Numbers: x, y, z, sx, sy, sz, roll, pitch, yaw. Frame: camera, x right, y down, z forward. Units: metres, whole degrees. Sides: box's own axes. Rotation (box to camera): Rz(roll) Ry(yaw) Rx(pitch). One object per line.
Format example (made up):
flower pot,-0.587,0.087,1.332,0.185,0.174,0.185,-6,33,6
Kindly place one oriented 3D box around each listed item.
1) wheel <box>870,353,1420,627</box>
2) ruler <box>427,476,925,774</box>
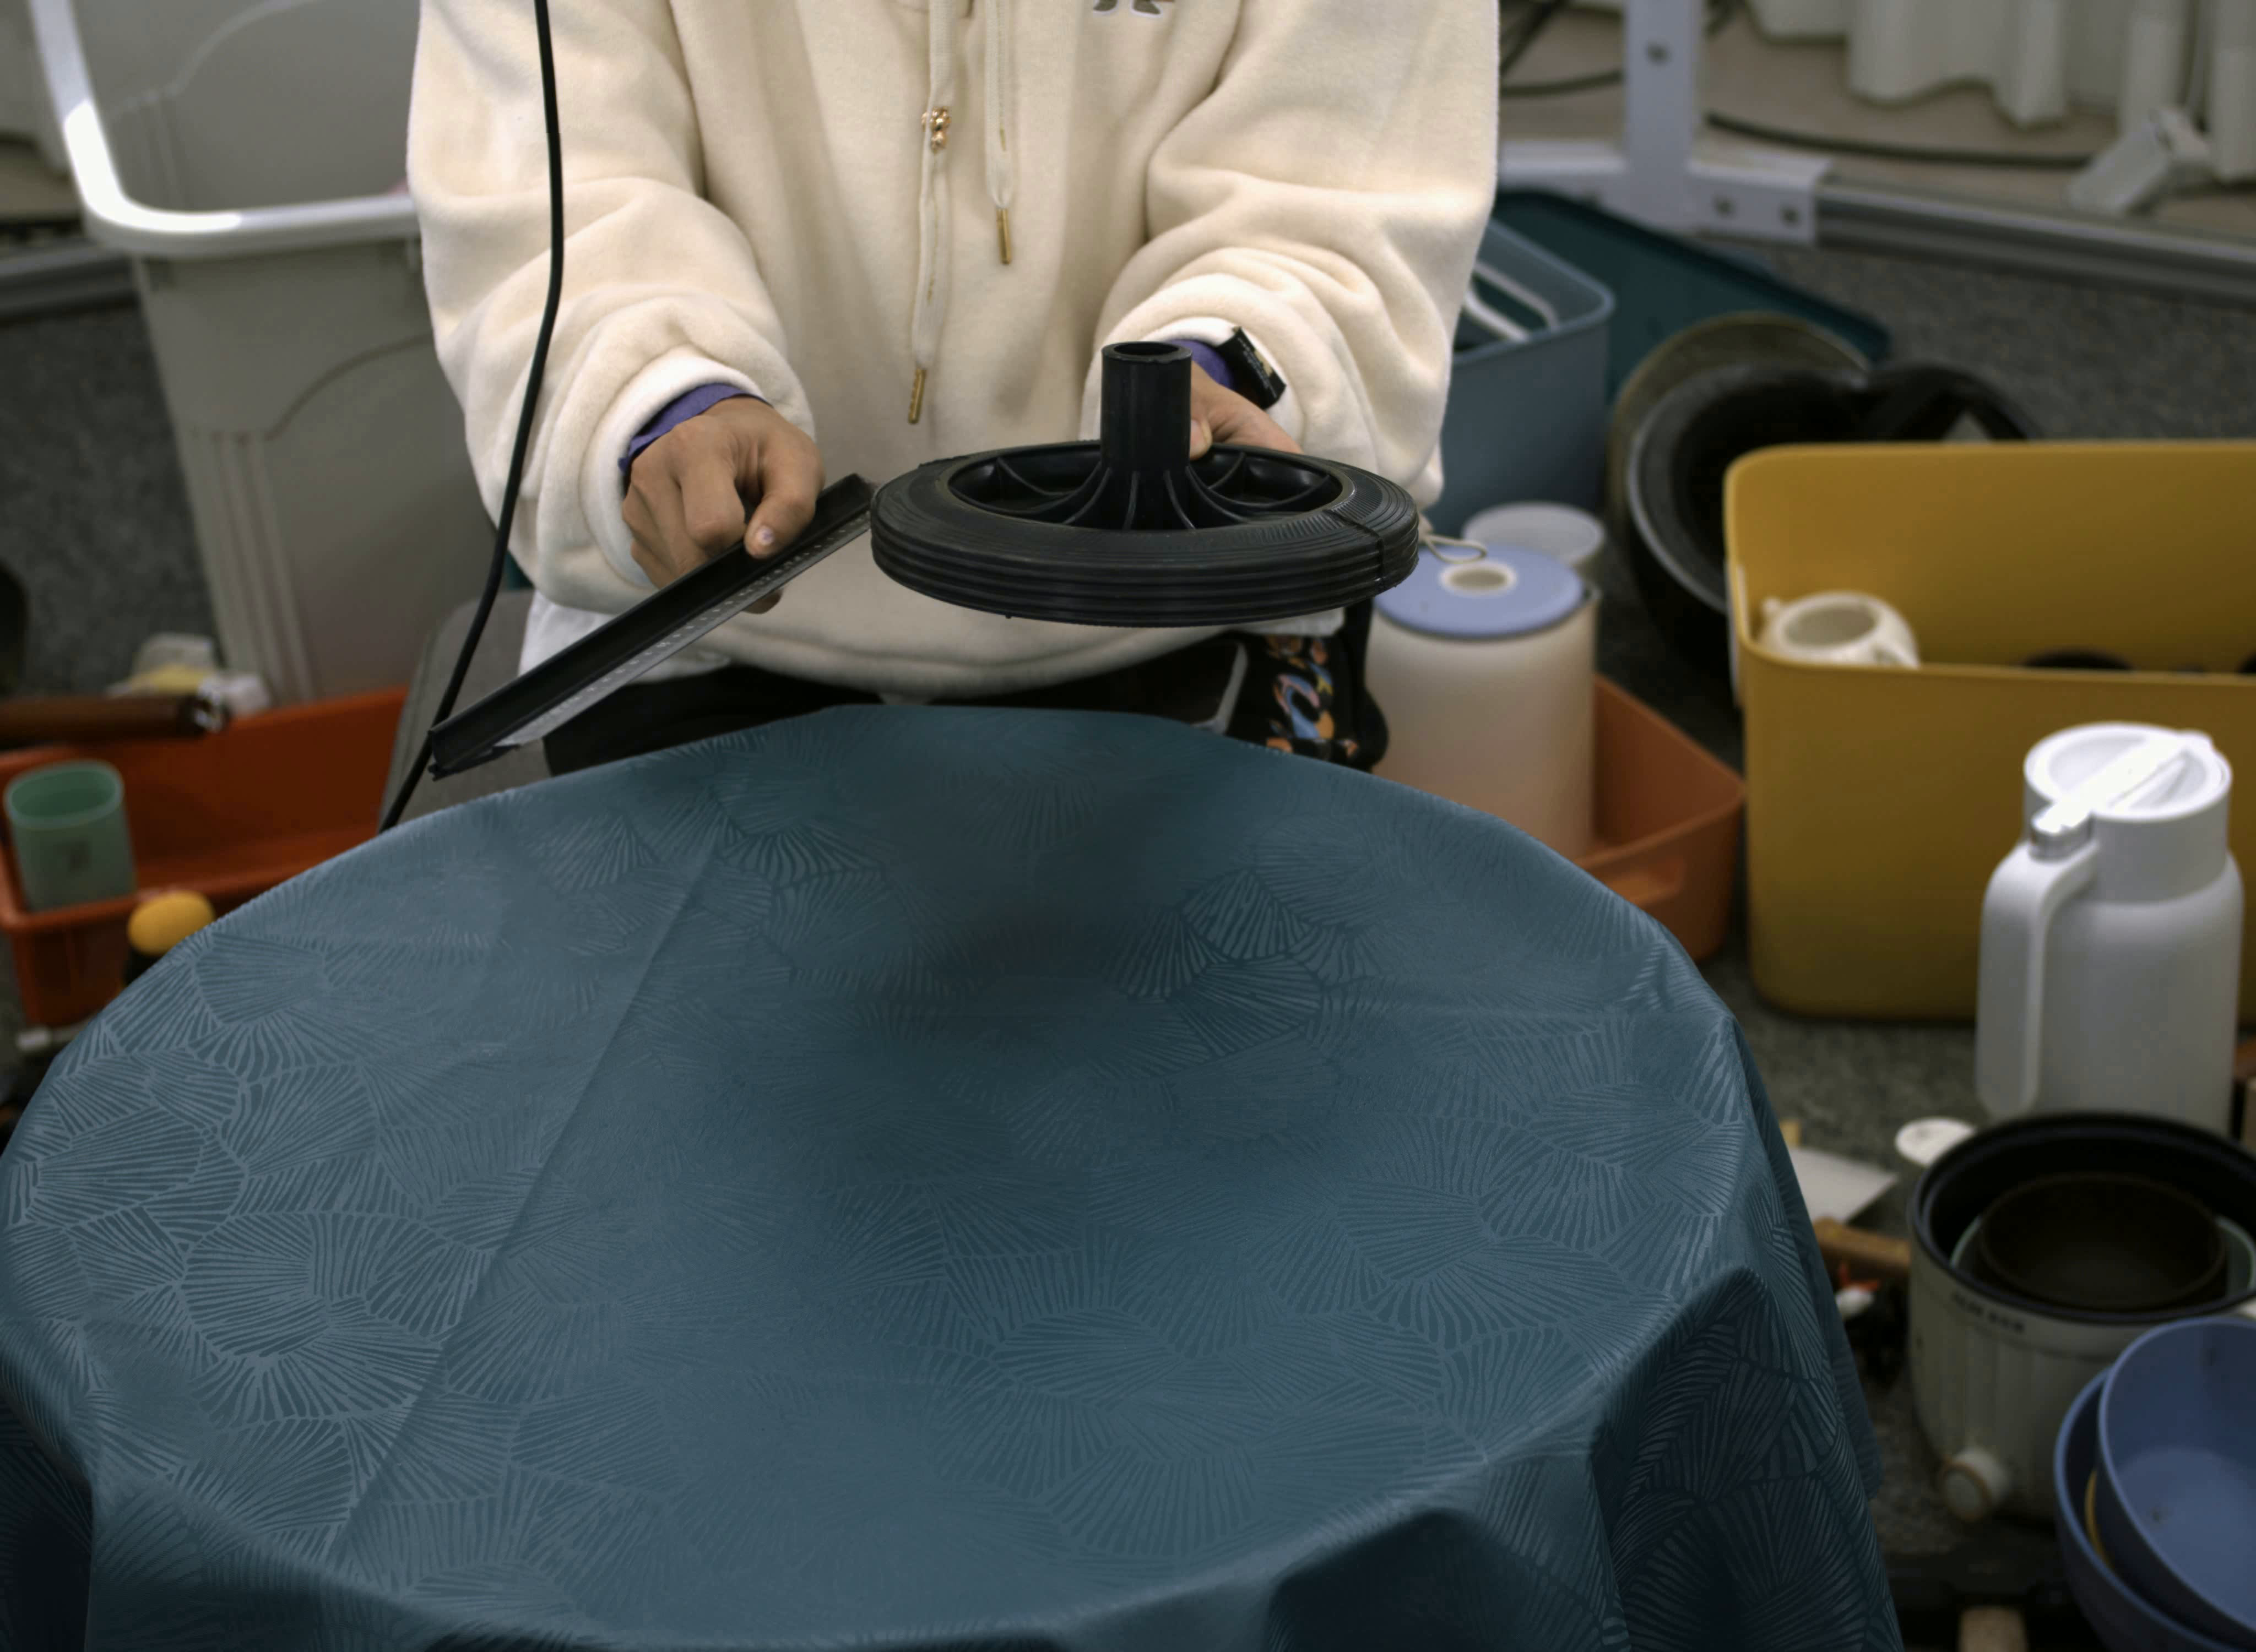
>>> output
wheel,0.006,-0.120,1.925,0.190,0.079,0.188,-5,17,-21
ruler,-0.142,-0.074,1.861,0.039,0.017,0.317,-16,11,27
